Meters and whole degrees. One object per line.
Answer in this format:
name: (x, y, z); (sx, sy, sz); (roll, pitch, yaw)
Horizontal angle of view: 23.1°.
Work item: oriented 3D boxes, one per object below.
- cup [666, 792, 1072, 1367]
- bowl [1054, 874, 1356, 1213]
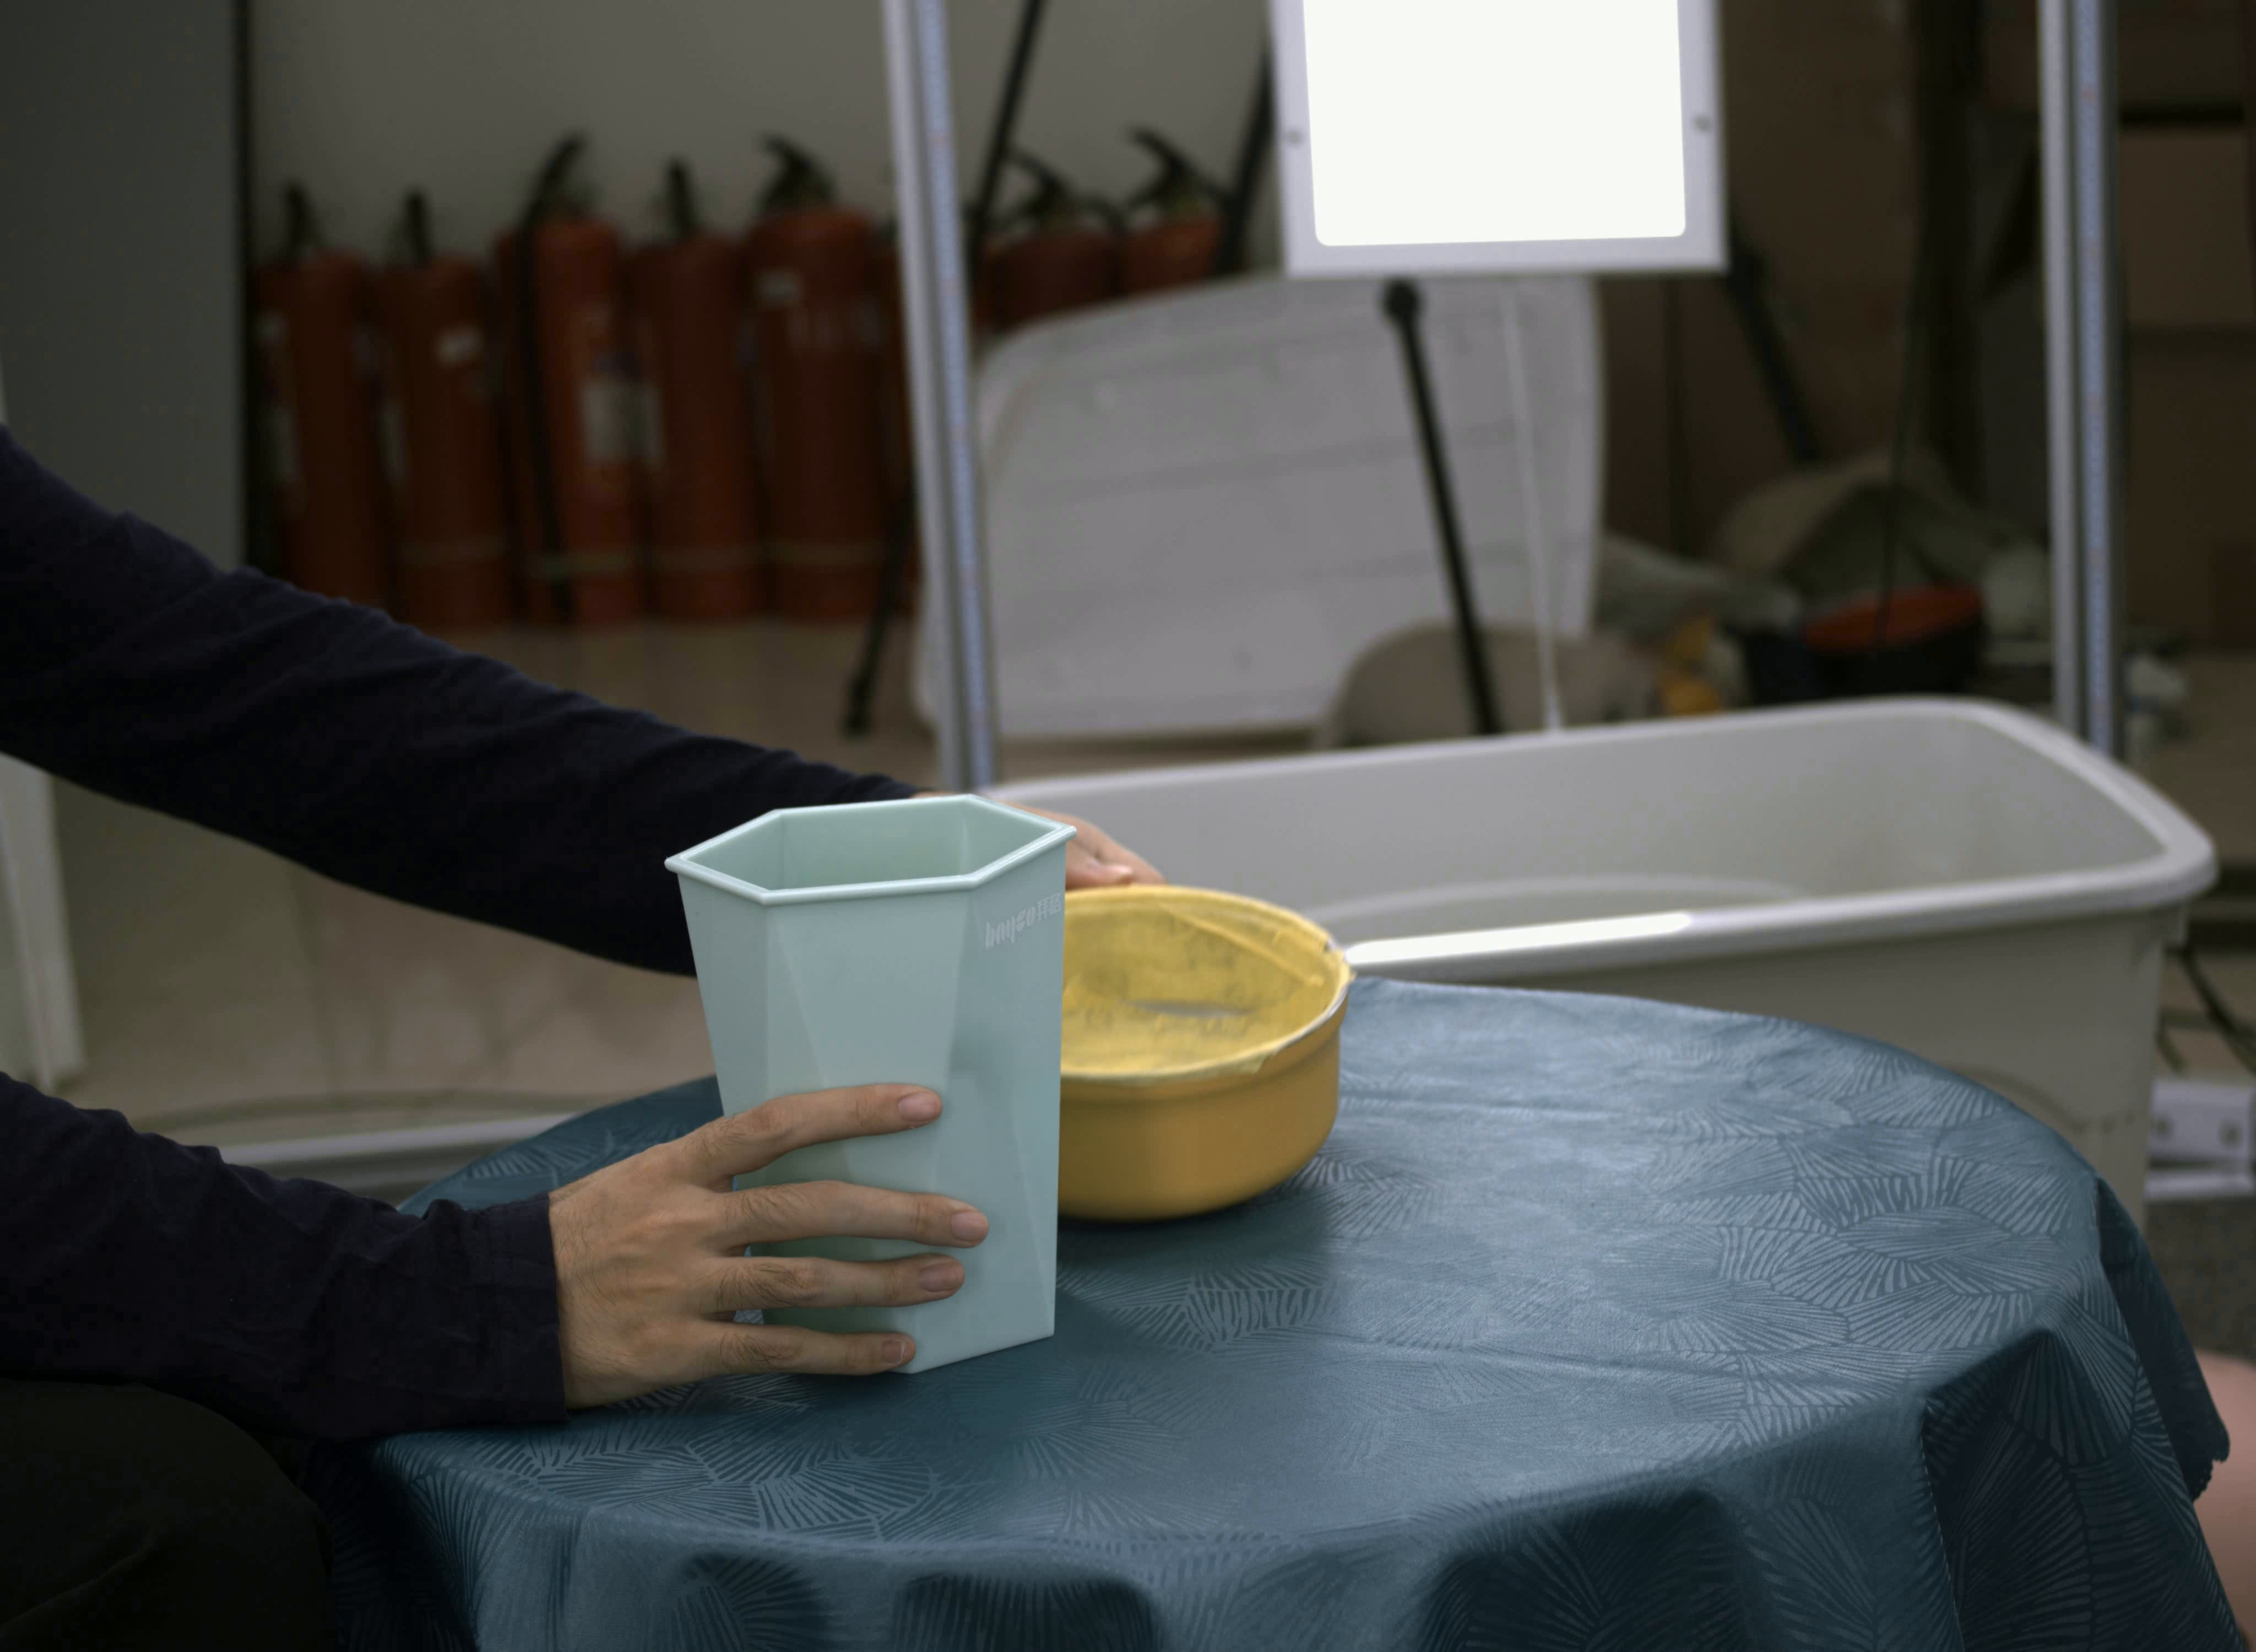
cup: (-0.075, 0.081, 1.766); (0.117, 0.163, 0.128); (1, 14, 29)
bowl: (0.001, 0.074, 1.915); (0.151, 0.074, 0.180); (-10, 25, -10)
